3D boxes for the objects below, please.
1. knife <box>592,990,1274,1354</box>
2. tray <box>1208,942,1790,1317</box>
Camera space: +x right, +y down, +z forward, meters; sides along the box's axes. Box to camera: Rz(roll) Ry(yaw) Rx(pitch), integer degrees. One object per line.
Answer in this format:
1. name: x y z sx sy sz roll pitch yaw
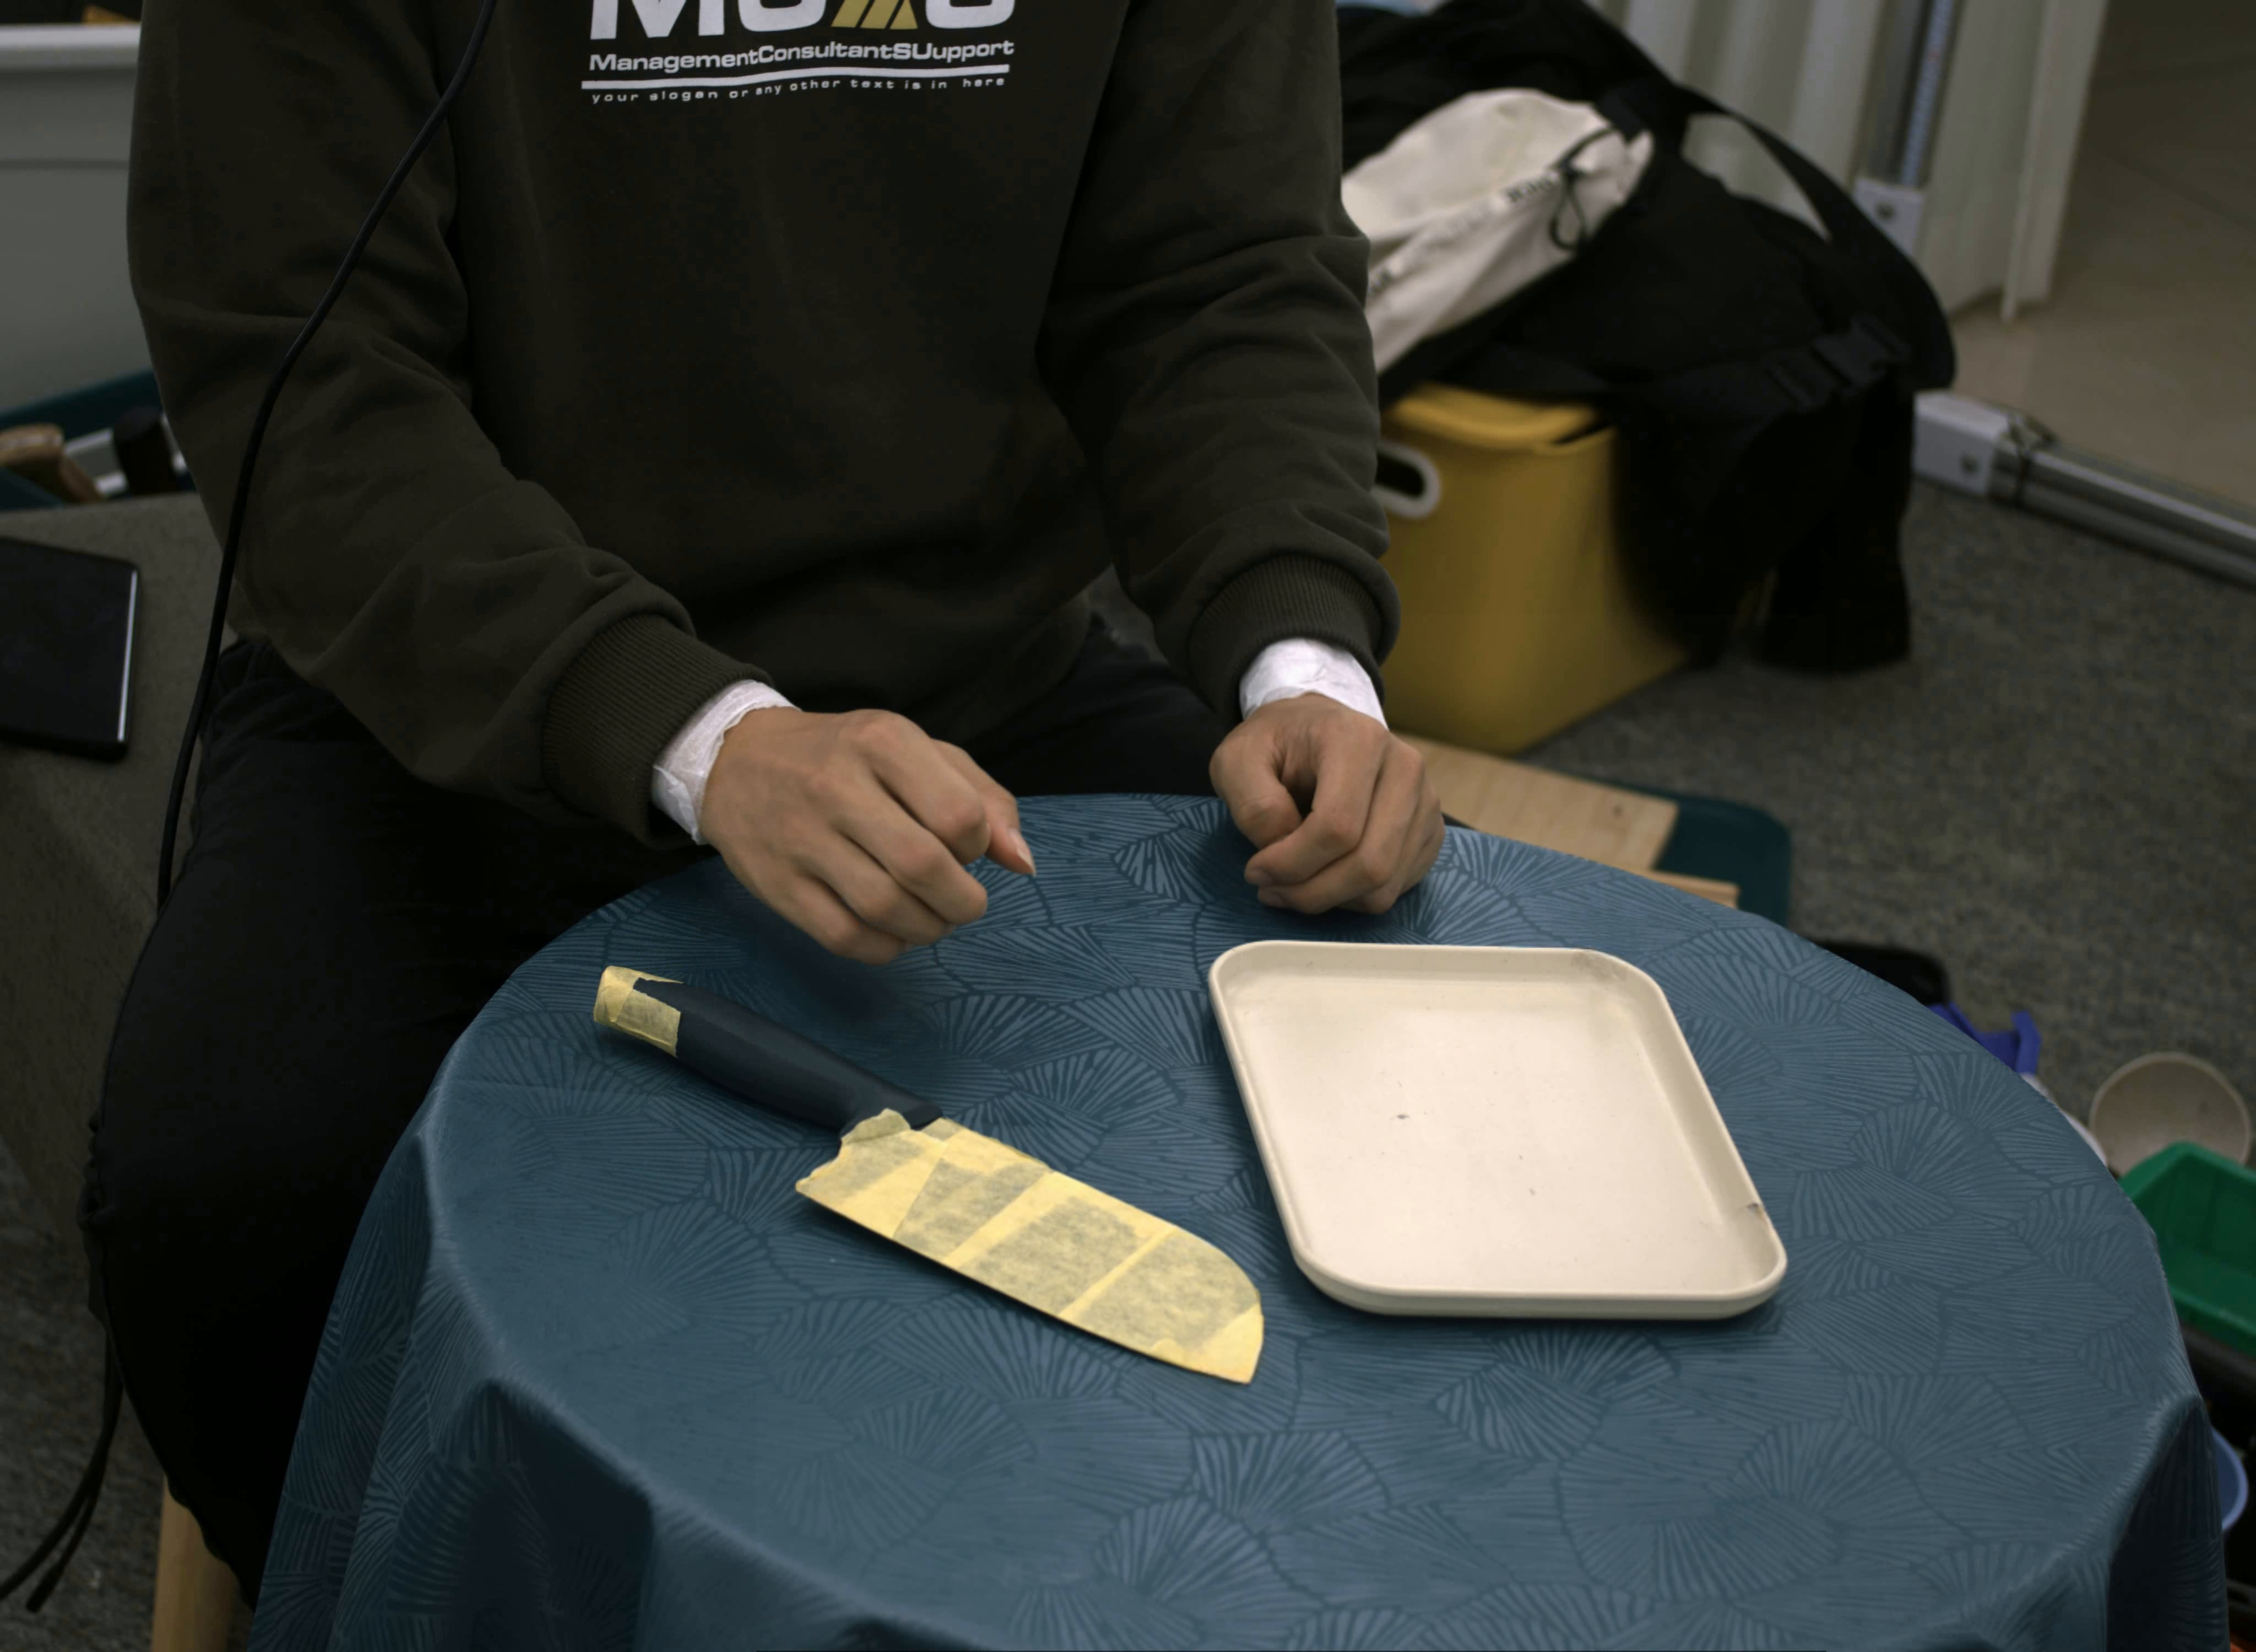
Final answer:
1. knife: -0.073 0.118 1.785 0.291 0.027 0.081 23 29 28
2. tray: 0.124 0.105 1.851 0.170 0.017 0.241 1 27 -9
